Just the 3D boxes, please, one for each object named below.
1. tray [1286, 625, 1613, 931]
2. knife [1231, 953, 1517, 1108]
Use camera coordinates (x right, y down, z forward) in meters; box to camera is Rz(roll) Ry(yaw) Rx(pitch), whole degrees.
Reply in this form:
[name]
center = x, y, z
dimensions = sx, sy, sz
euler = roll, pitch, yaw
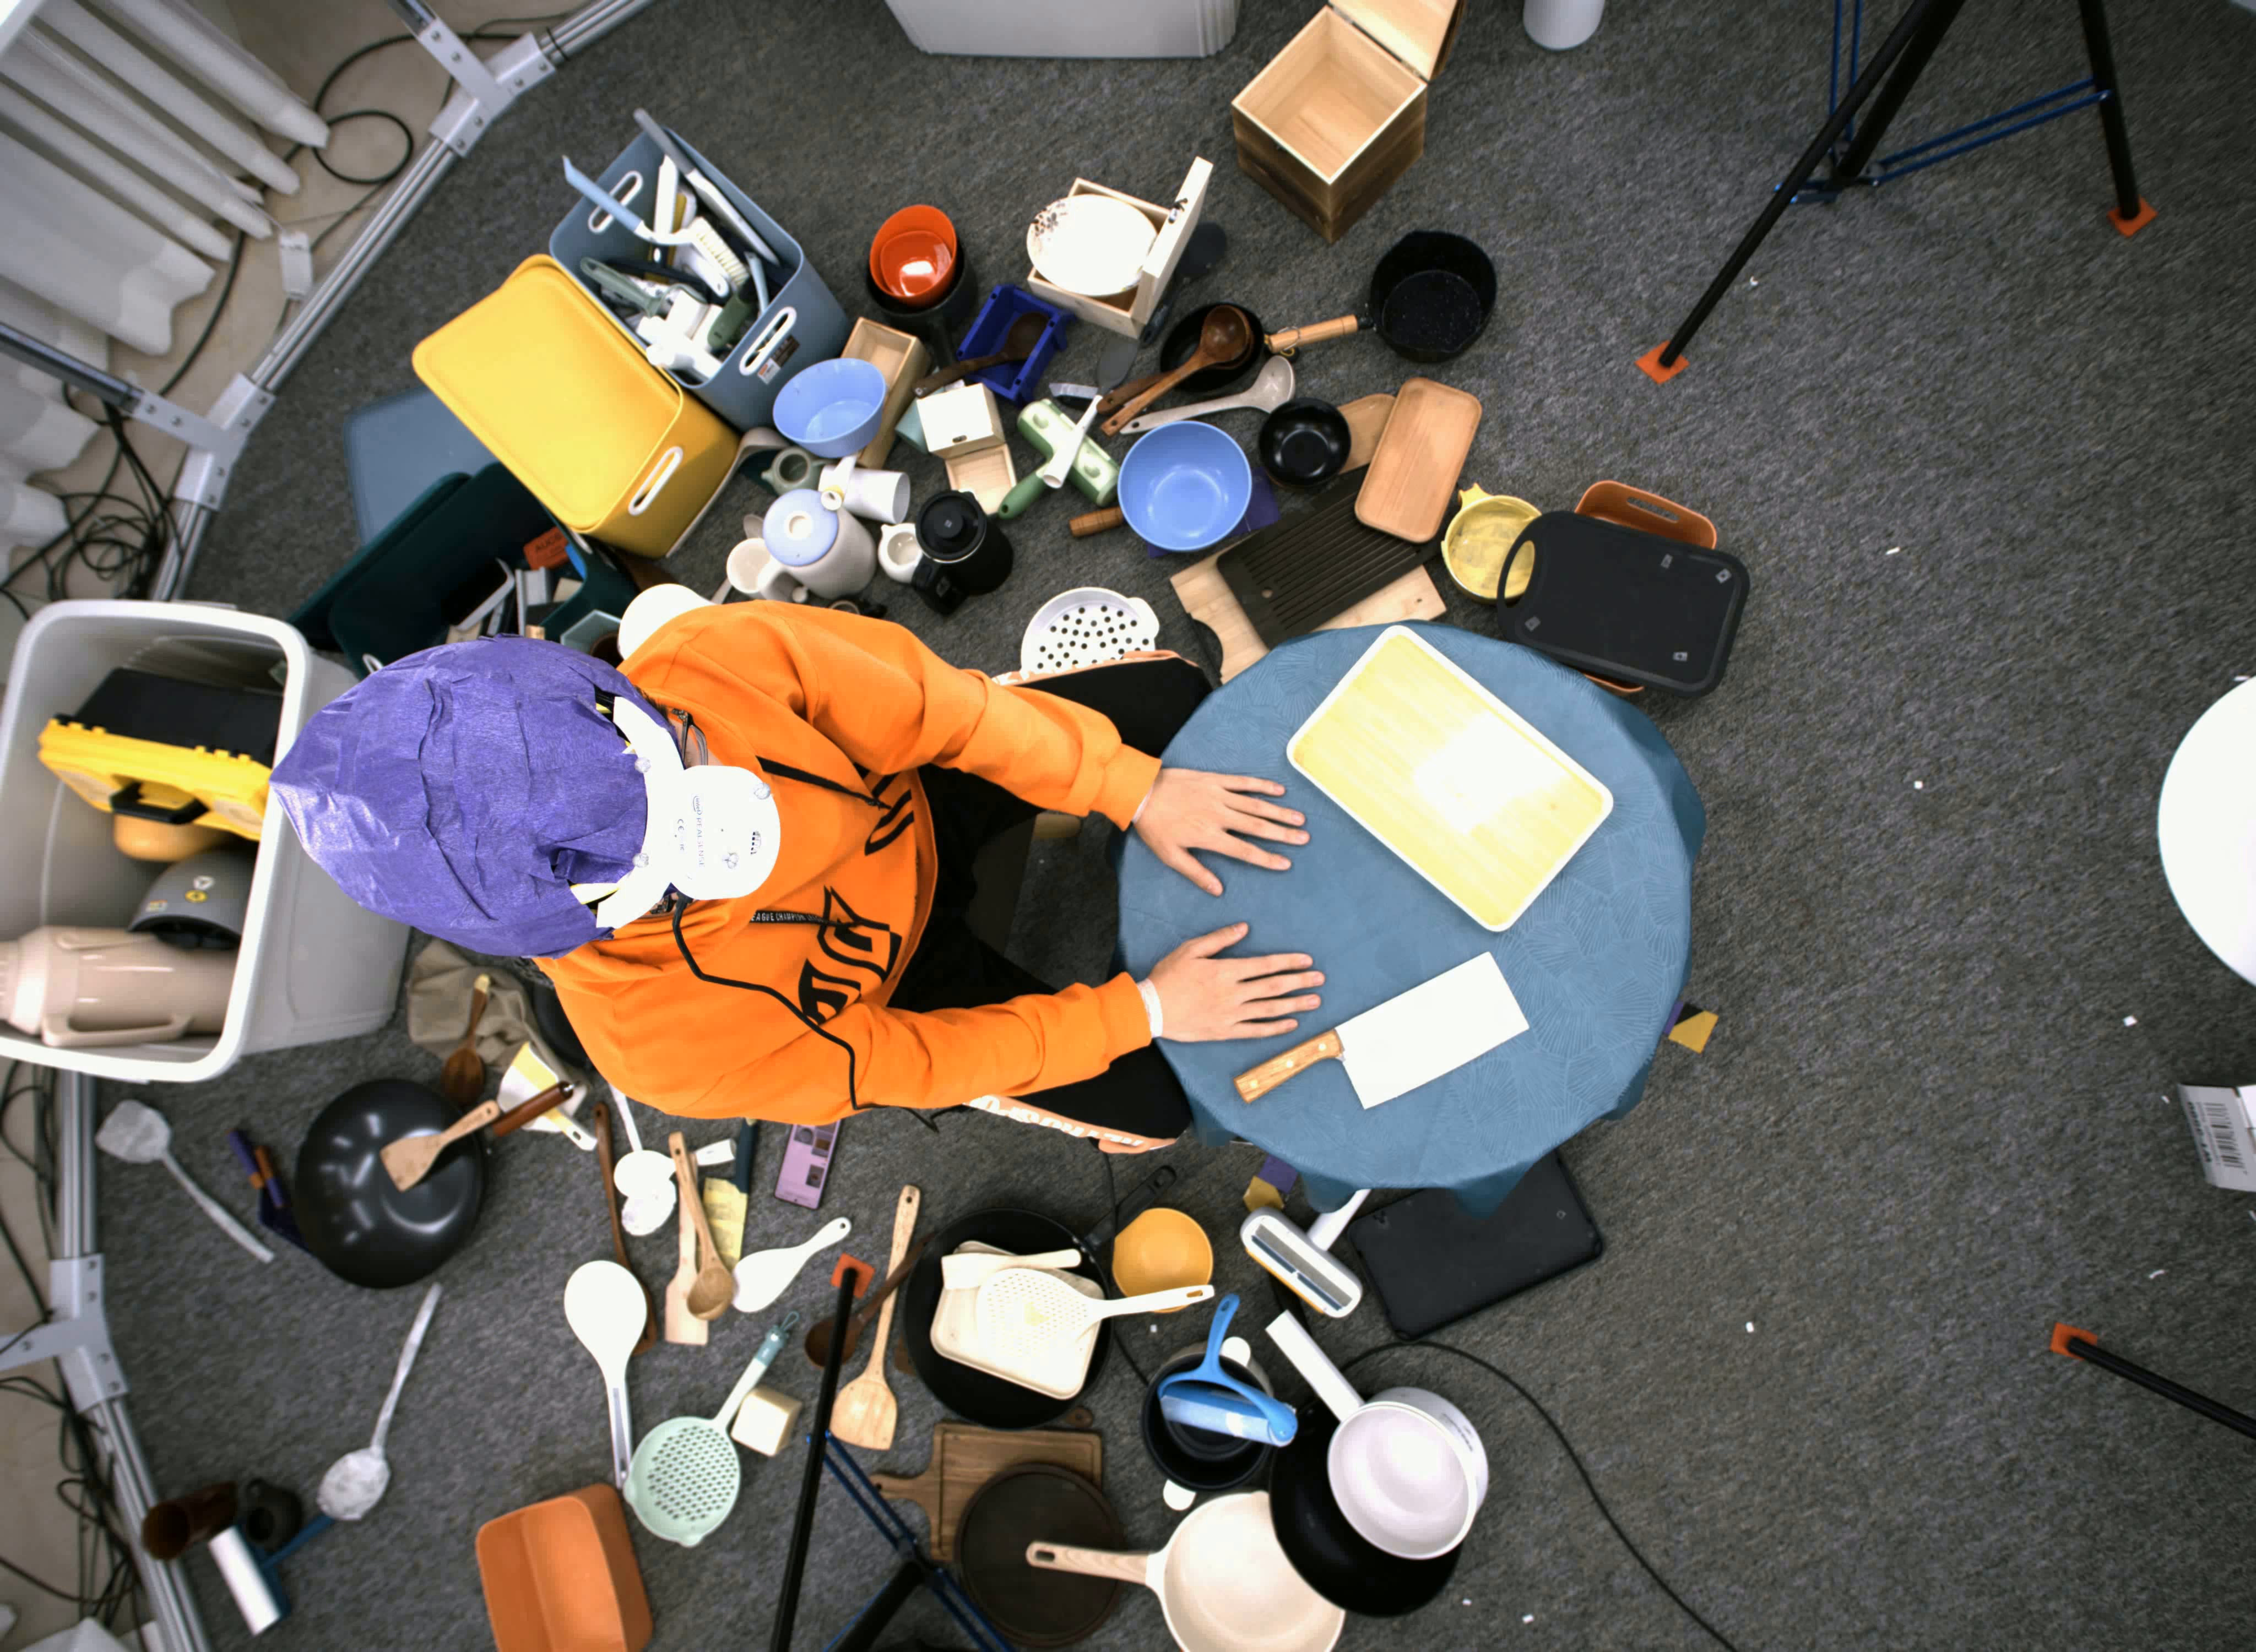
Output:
[tray]
center = 0.334, -0.053, 1.441
dimensions = 0.299, 0.027, 0.192
euler = 41, 95, 10
[knife]
center = 0.260, 0.235, 1.445
dimensions = 0.307, 0.021, 0.092
euler = -27, 84, 6
